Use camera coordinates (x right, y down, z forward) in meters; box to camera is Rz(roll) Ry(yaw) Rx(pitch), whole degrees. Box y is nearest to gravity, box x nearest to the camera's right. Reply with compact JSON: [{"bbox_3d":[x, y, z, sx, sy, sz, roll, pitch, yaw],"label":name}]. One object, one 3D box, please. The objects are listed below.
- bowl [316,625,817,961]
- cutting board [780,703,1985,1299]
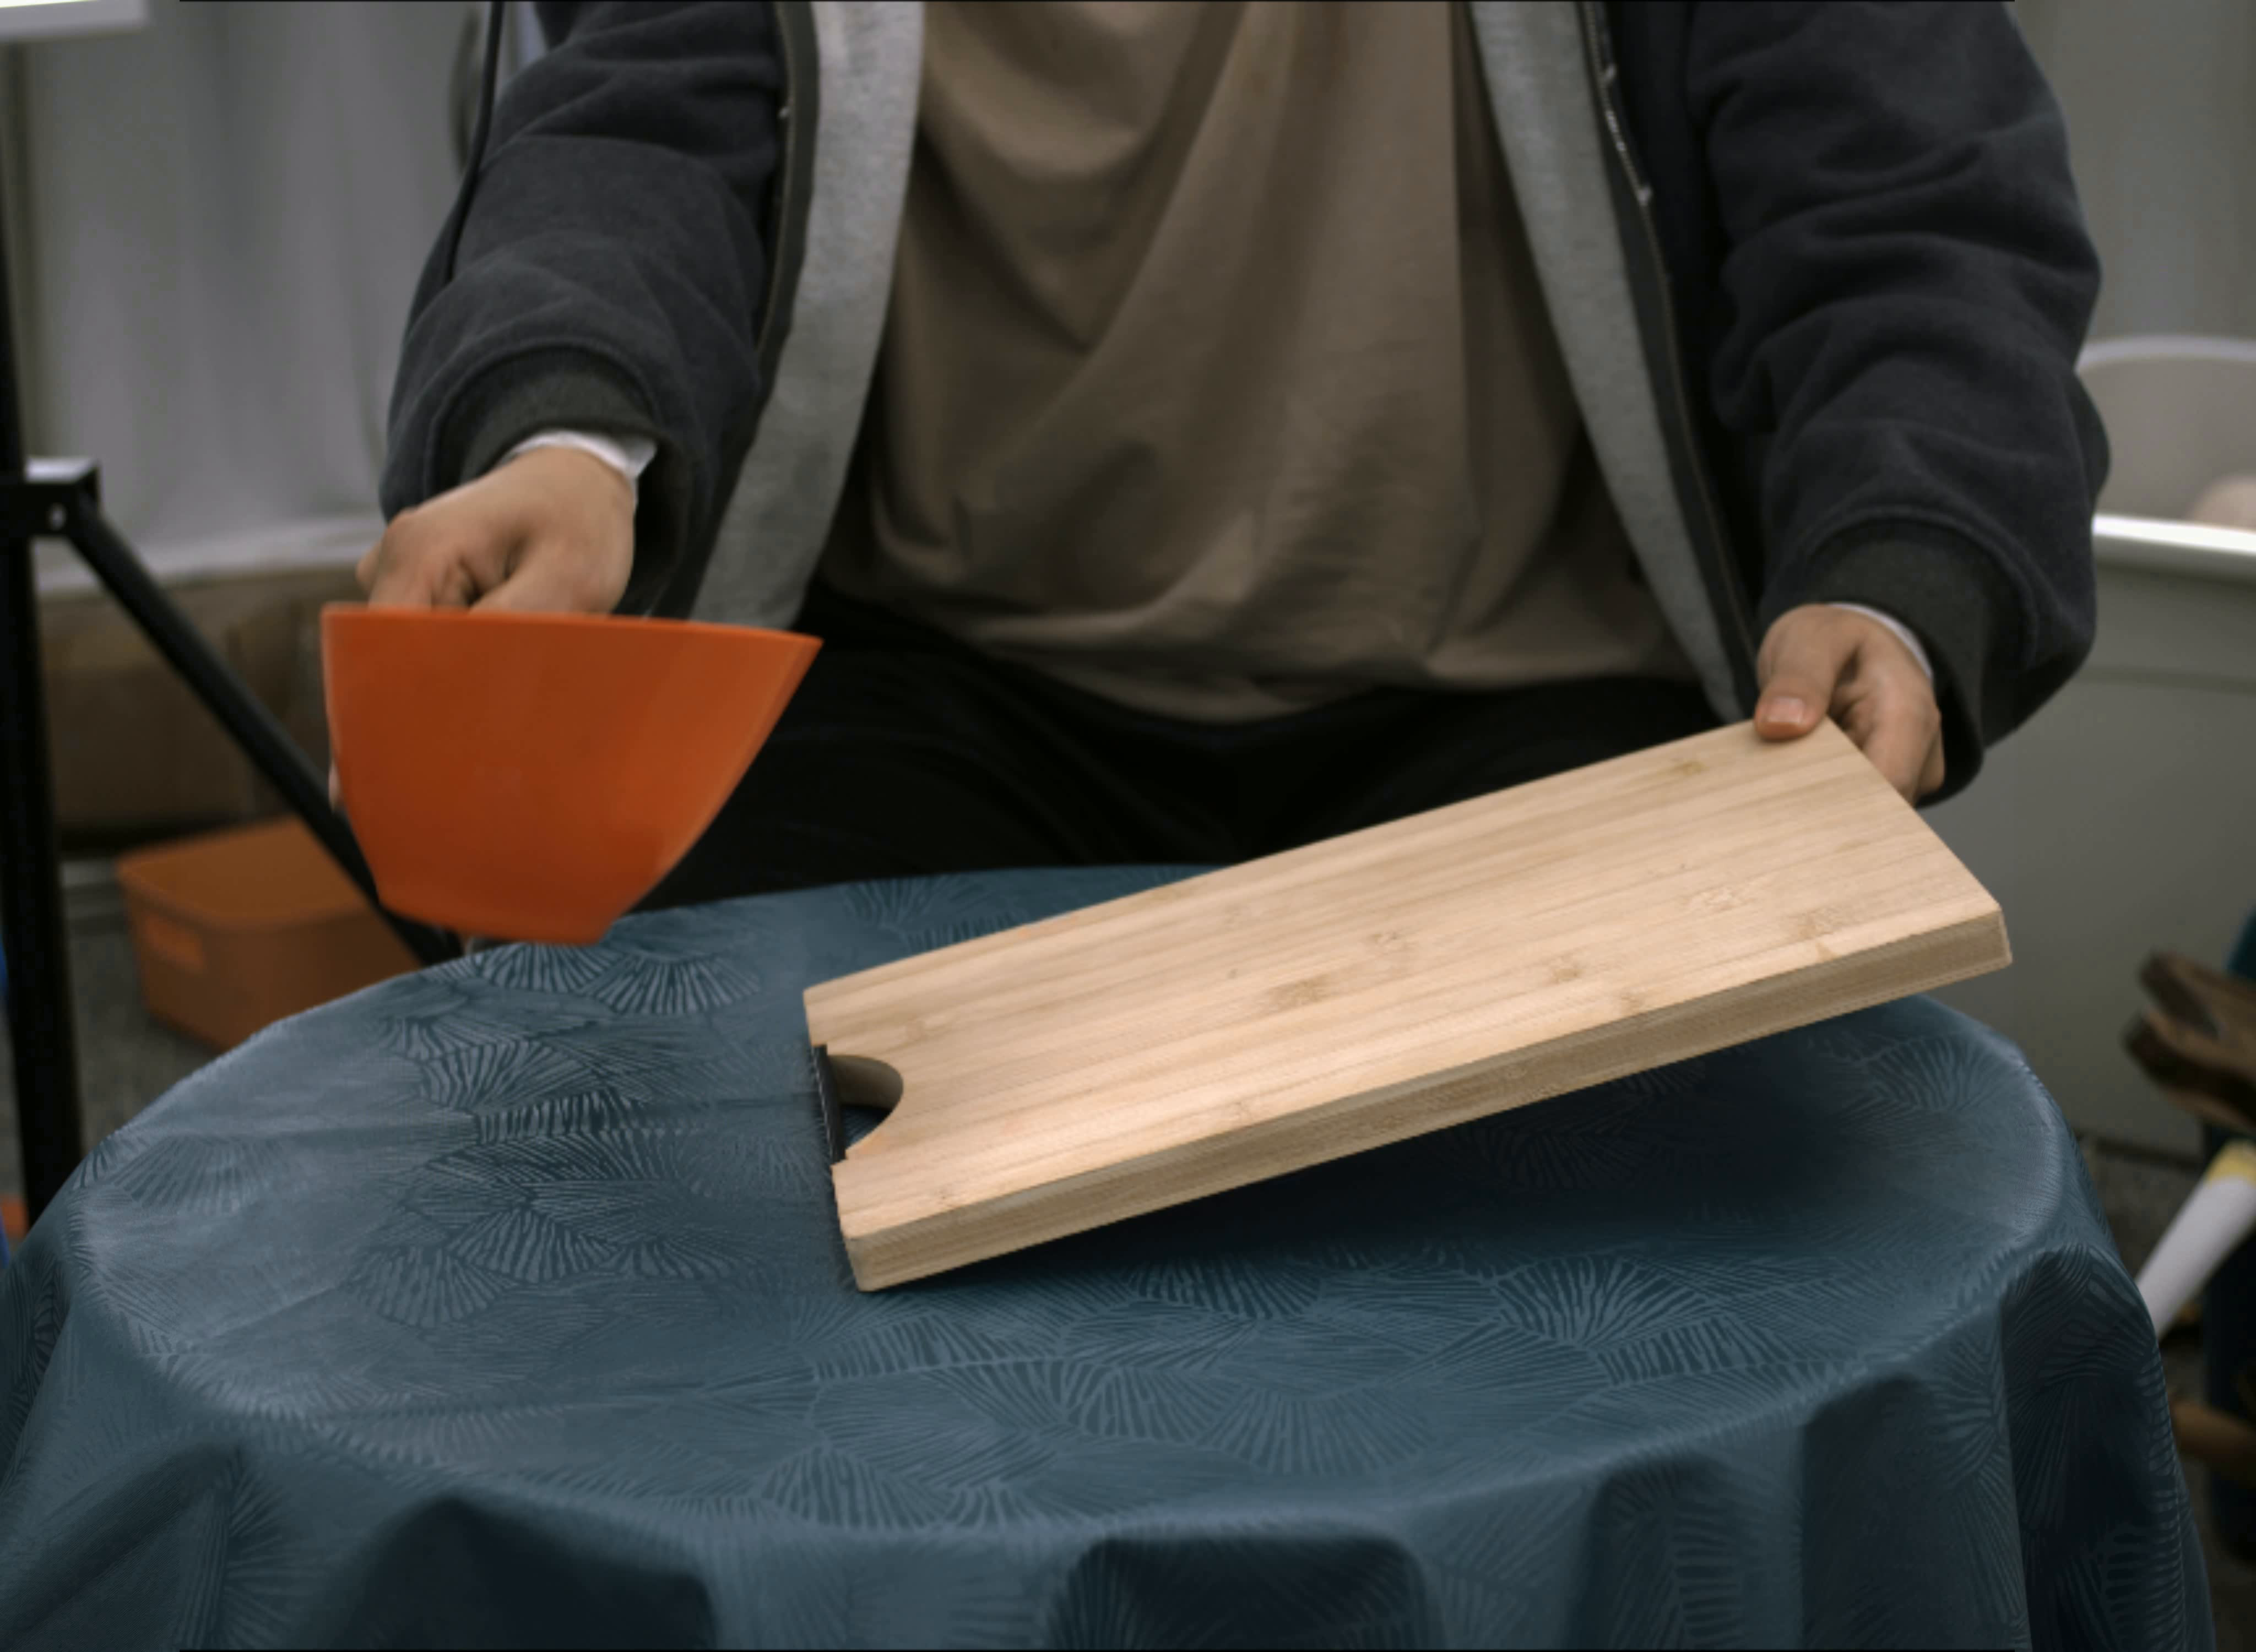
[{"bbox_3d":[-0.172,-0.015,1.582,0.147,0.105,0.148,9,8,-3],"label":"bowl"},{"bbox_3d":[0.067,0.048,1.599,0.347,0.023,0.253,-16,16,-1],"label":"cutting board"}]
